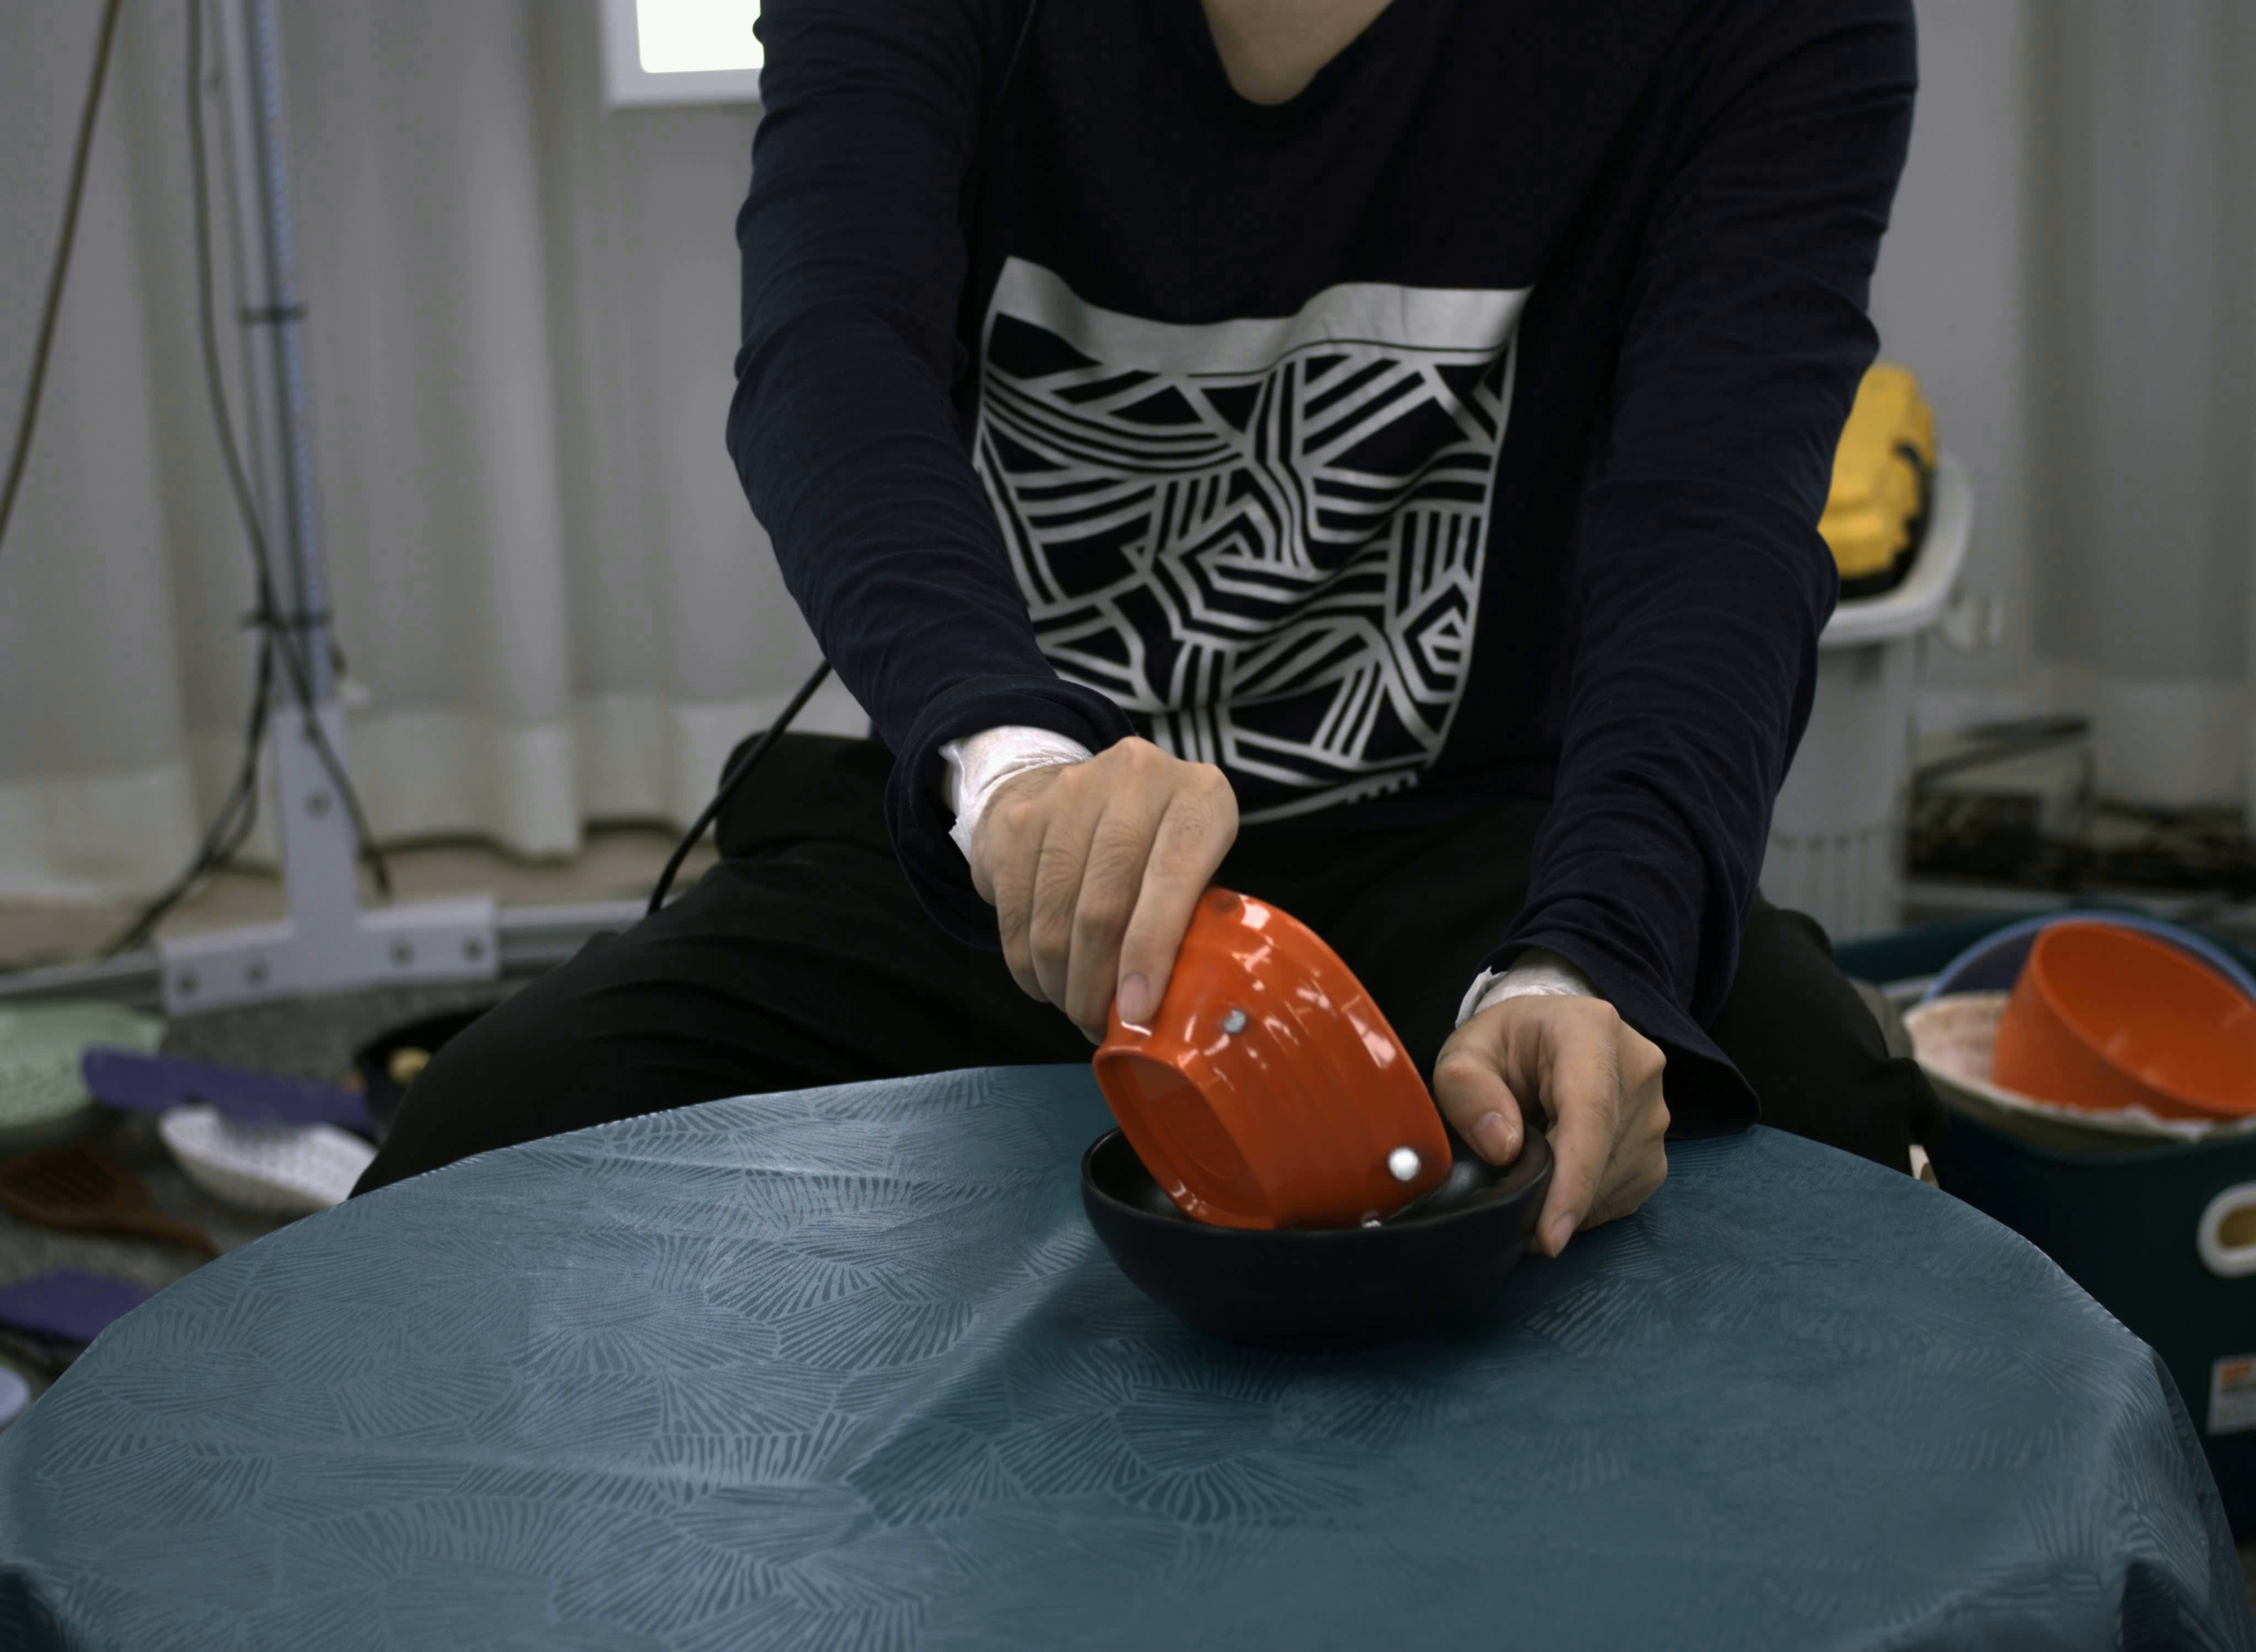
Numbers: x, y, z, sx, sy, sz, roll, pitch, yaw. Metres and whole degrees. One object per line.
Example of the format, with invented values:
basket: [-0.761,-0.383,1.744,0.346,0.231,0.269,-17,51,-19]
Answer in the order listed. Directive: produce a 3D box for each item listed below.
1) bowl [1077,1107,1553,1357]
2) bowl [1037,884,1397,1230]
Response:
bowl: [0.055,0.122,1.594,0.139,0.049,0.140,-1,11,0]
bowl: [0.017,0.075,1.564,0.051,0.117,0.120,-41,29,-18]
